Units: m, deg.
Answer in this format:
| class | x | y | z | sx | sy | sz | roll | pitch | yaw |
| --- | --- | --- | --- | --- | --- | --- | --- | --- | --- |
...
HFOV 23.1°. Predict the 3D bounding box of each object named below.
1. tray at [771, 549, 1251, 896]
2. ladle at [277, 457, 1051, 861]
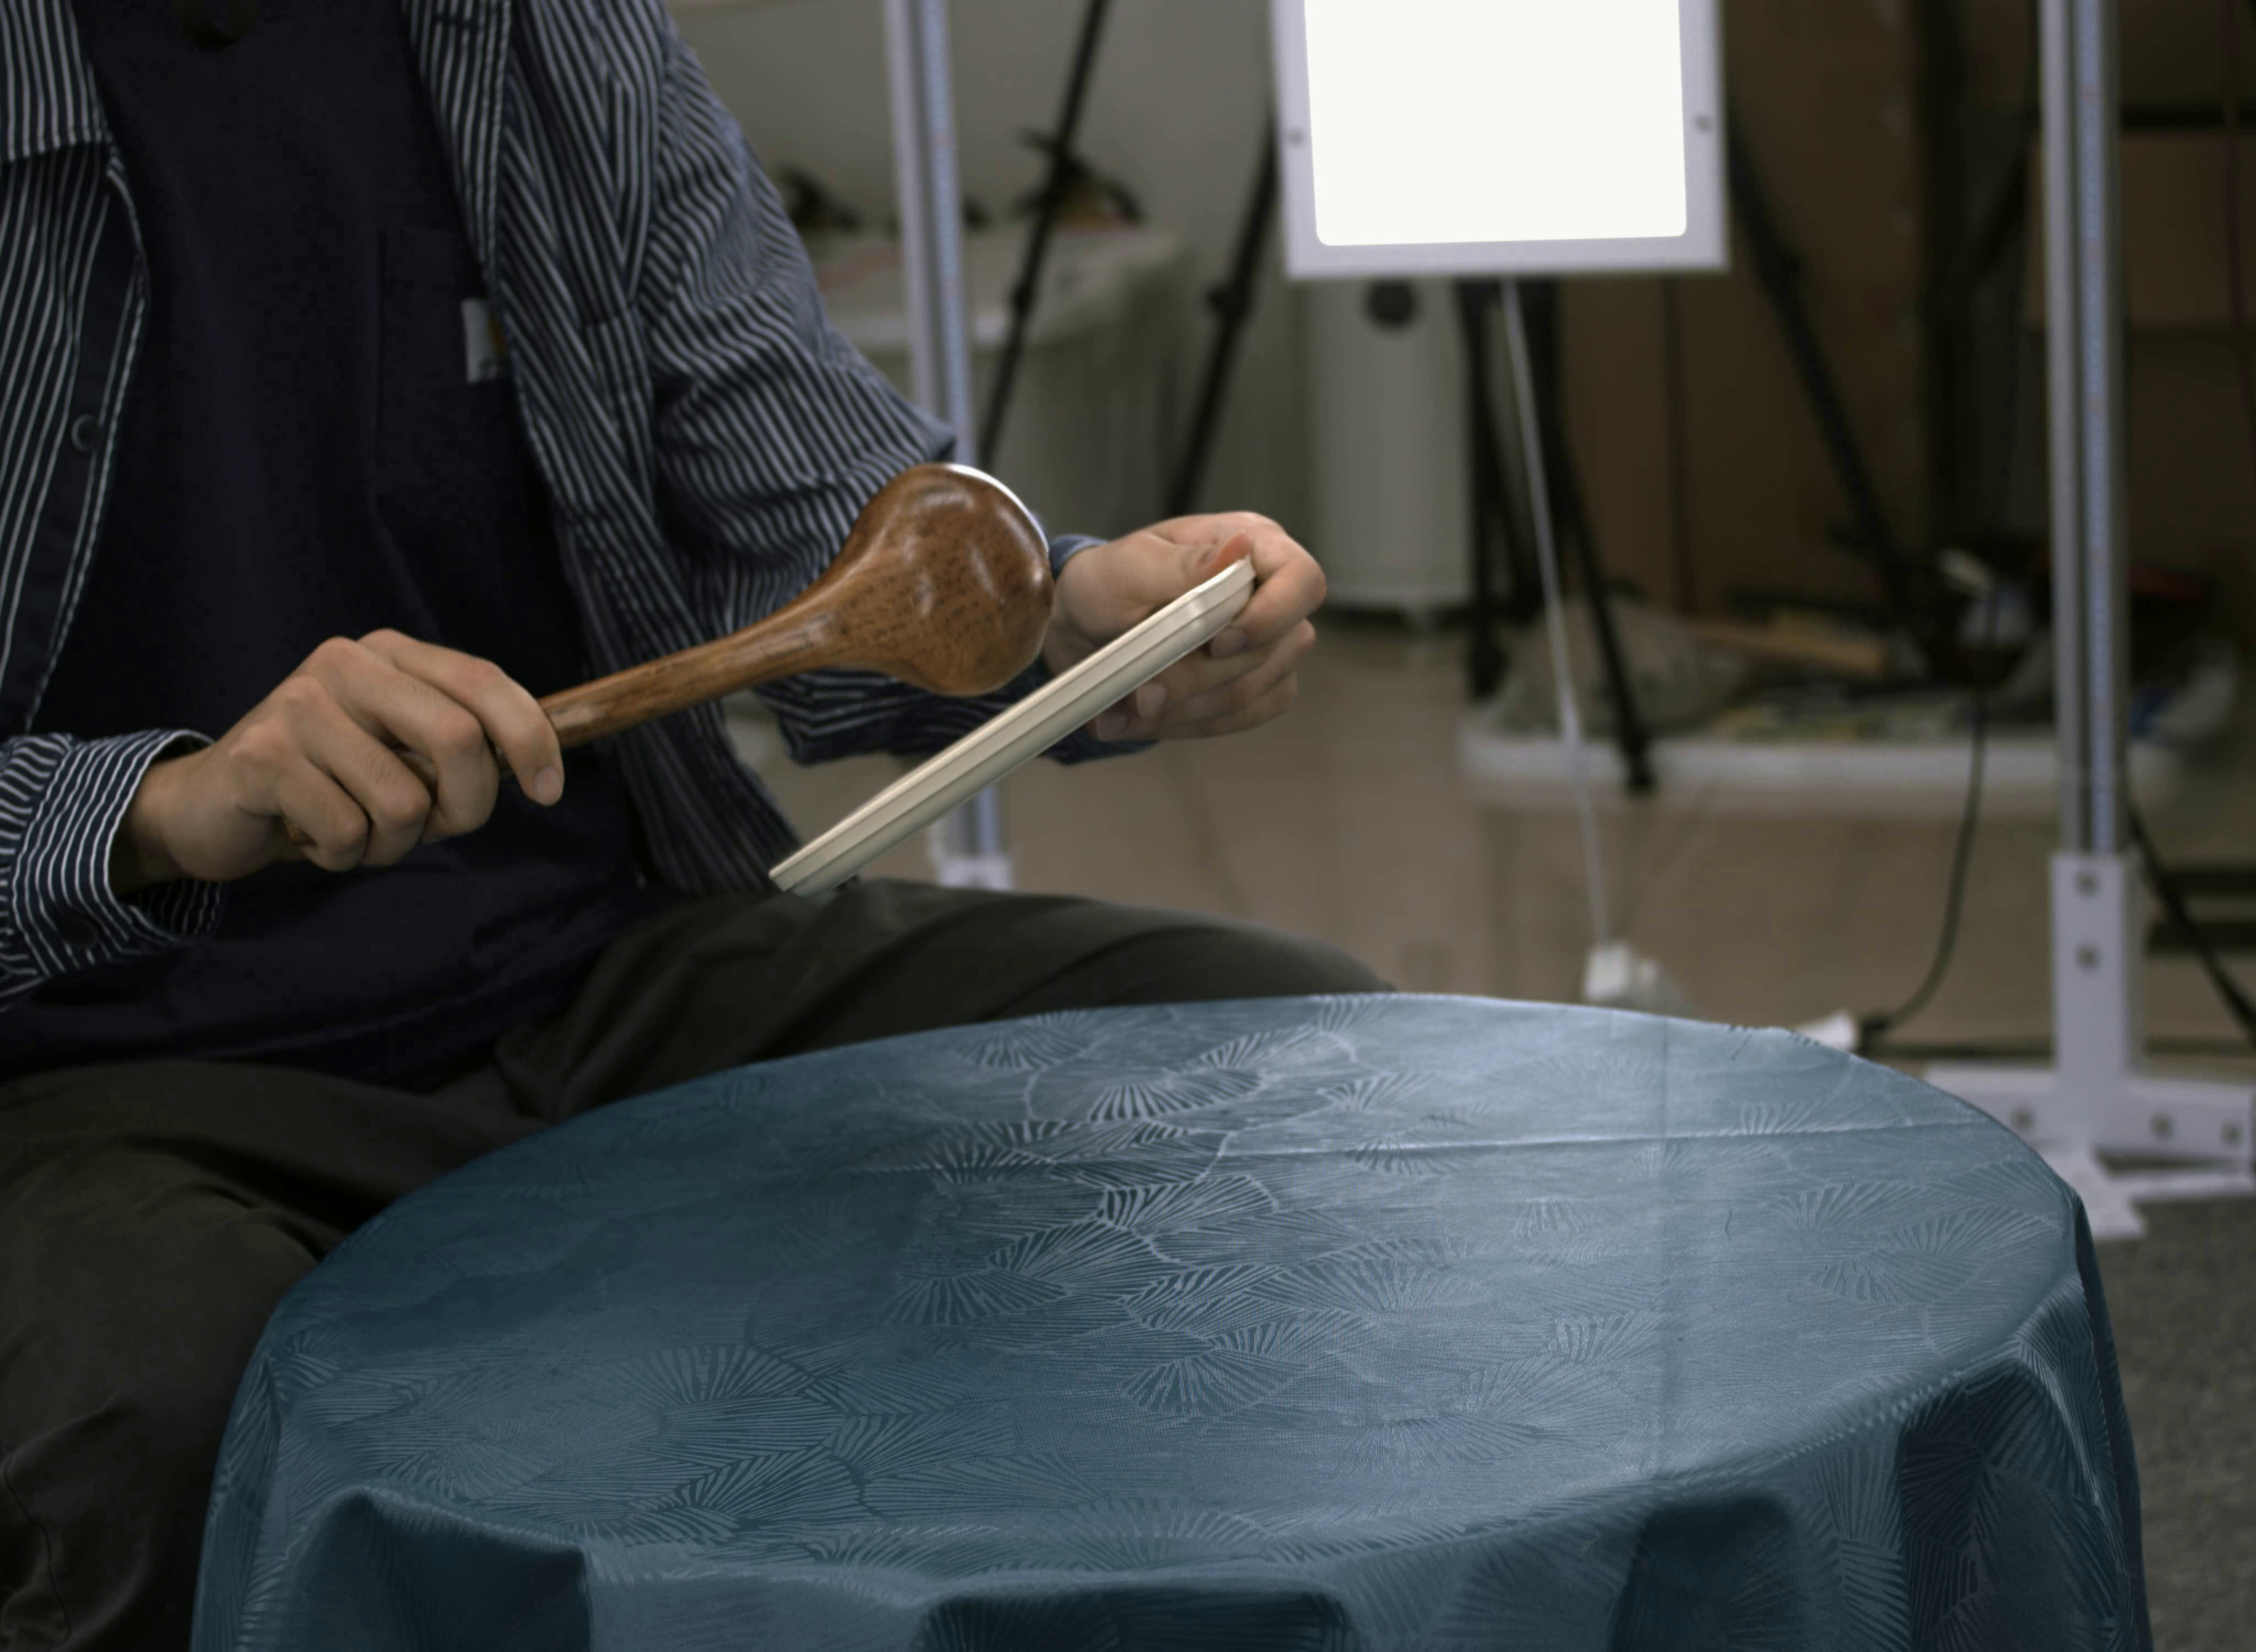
| class | x | y | z | sx | sy | sz | roll | pitch | yaw |
| --- | --- | --- | --- | --- | --- | --- | --- | --- | --- |
| tray | -0.034 | -0.035 | 1.863 | 0.172 | 0.017 | 0.238 | -34 | 2 | 10 |
| ladle | -0.158 | -0.050 | 1.891 | 0.275 | 0.082 | 0.076 | -20 | -1 | 9 |
